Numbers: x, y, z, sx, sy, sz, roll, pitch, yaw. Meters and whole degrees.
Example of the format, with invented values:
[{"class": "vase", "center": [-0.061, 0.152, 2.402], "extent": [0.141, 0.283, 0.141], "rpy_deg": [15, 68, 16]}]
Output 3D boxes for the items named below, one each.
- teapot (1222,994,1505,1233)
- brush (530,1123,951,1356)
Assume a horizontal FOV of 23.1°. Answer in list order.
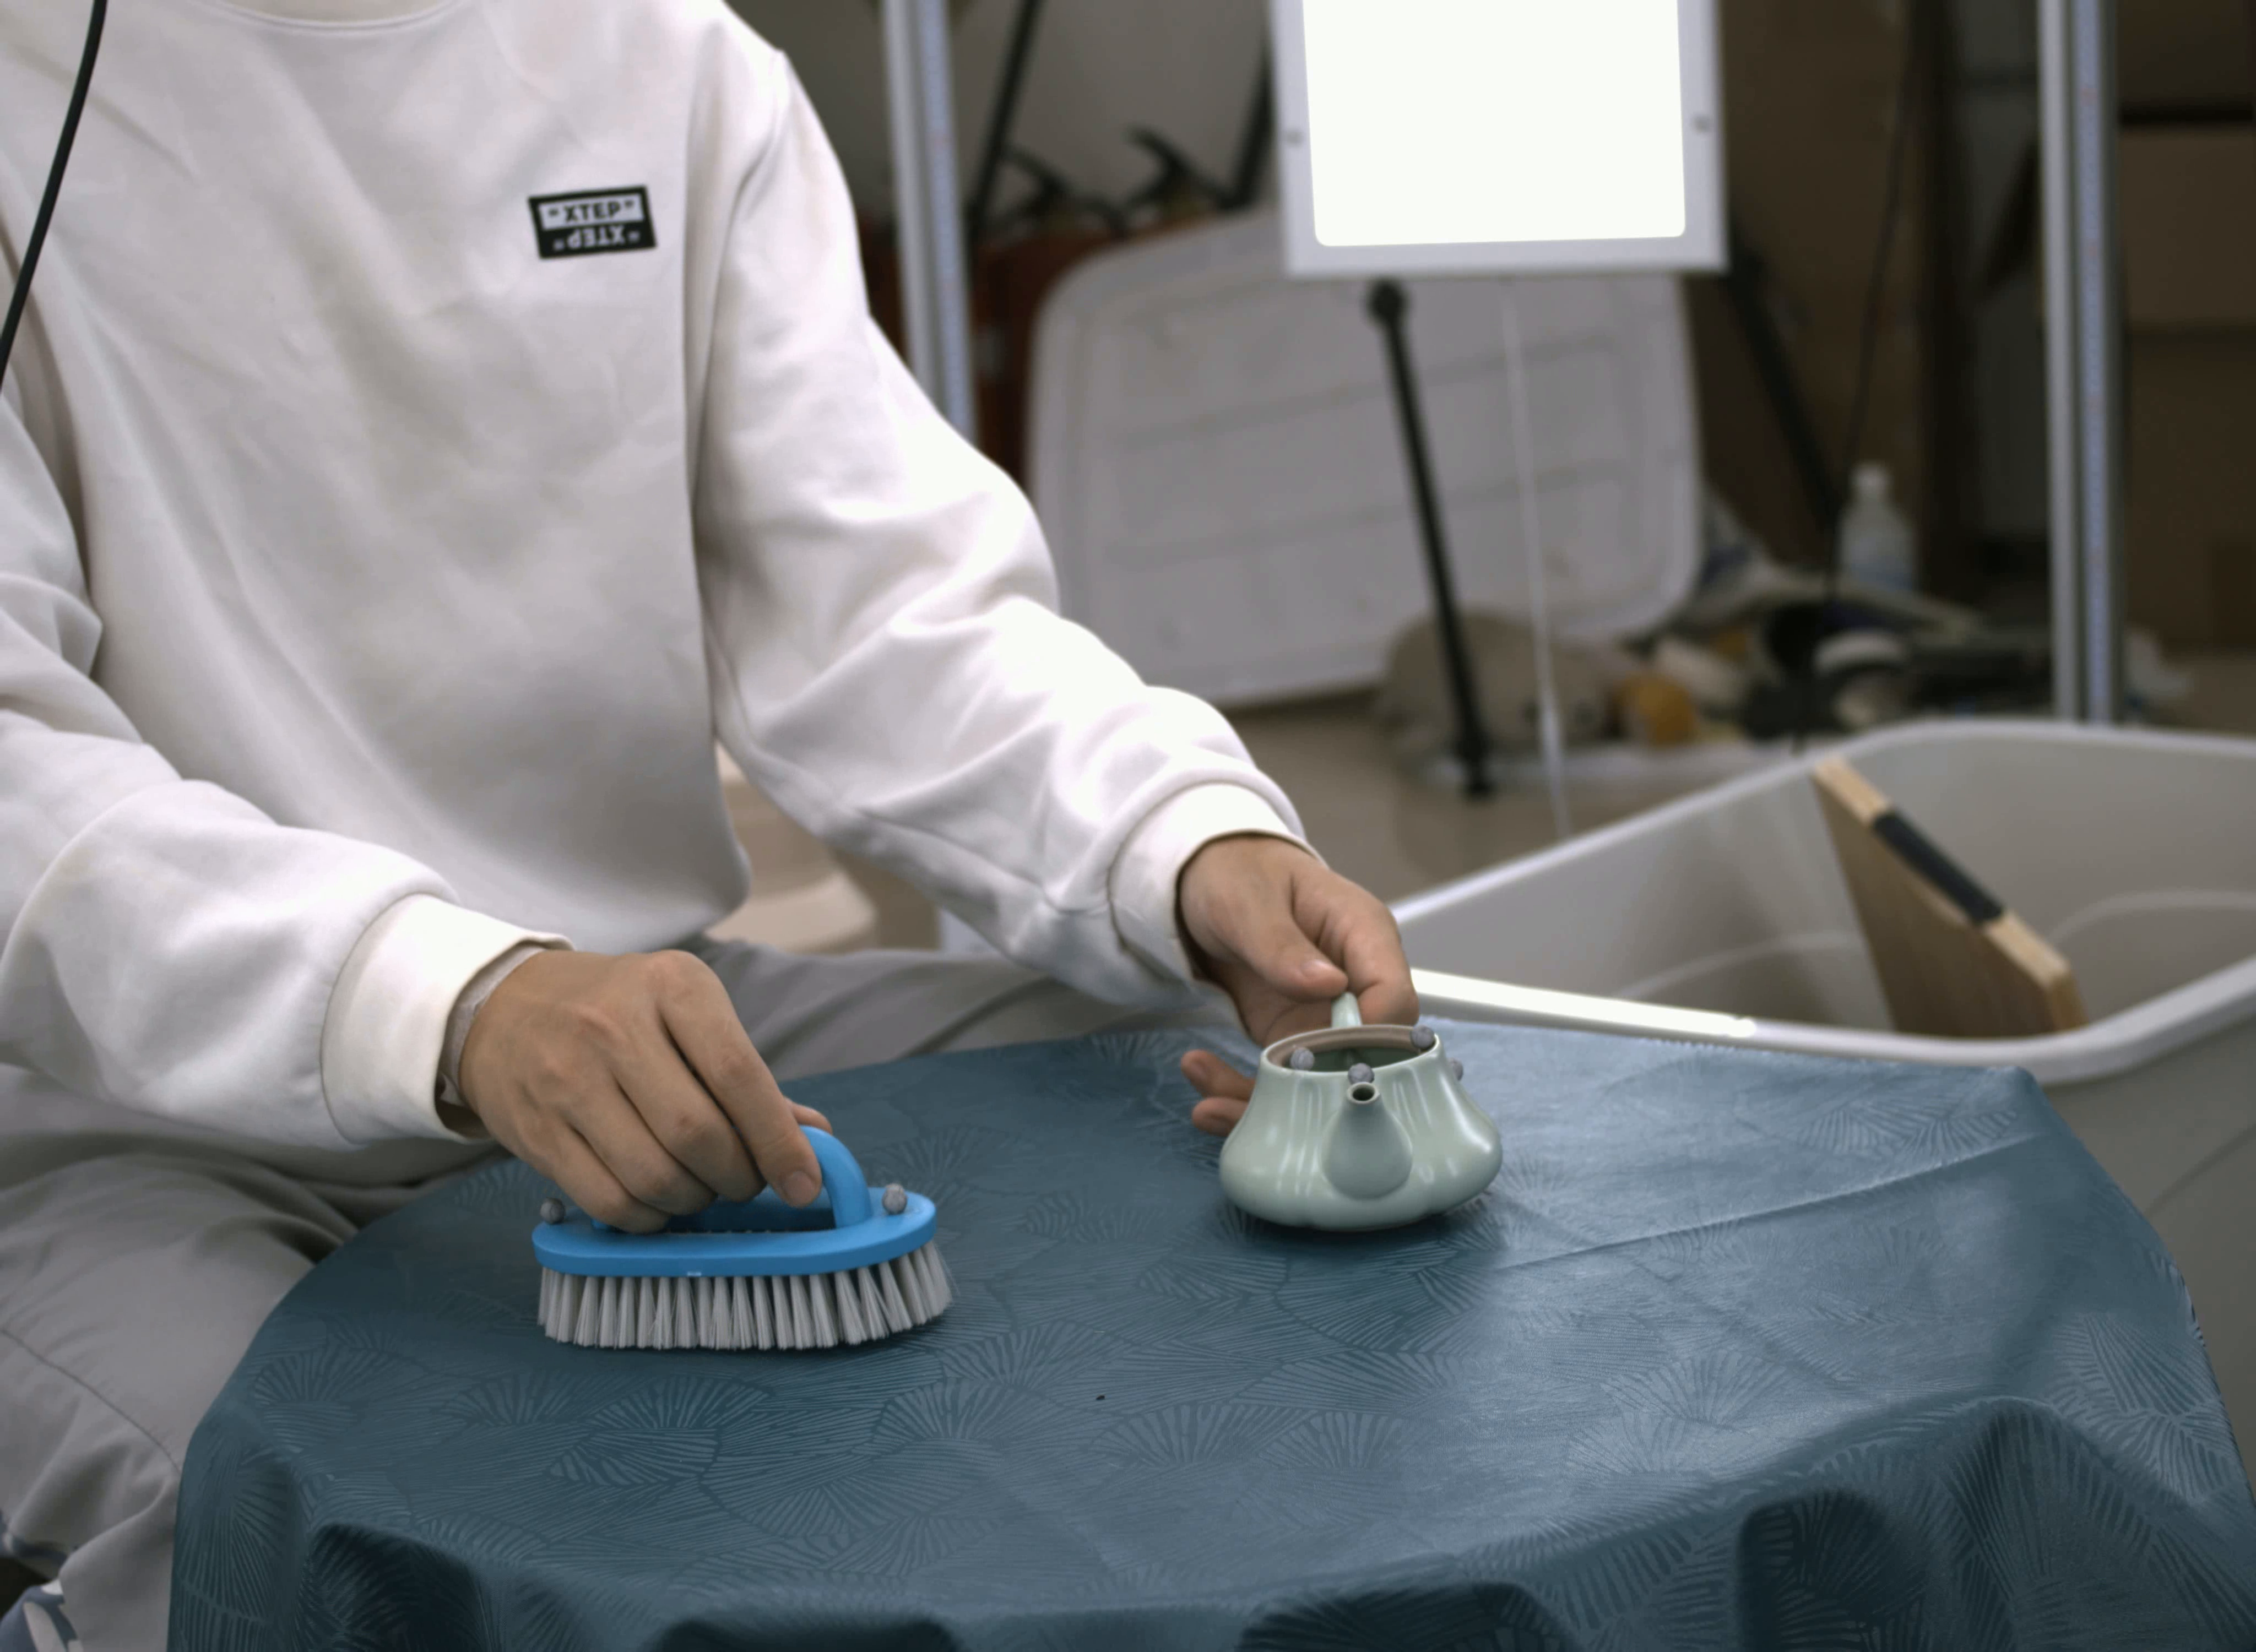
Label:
[{"class": "teapot", "center": [0.078, 0.099, 1.856], "extent": [0.096, 0.061, 0.137], "rpy_deg": [-8, 14, -1]}, {"class": "brush", "center": [-0.130, 0.128, 1.797], "extent": [0.144, 0.064, 0.083], "rpy_deg": [-2, 18, 22]}]
